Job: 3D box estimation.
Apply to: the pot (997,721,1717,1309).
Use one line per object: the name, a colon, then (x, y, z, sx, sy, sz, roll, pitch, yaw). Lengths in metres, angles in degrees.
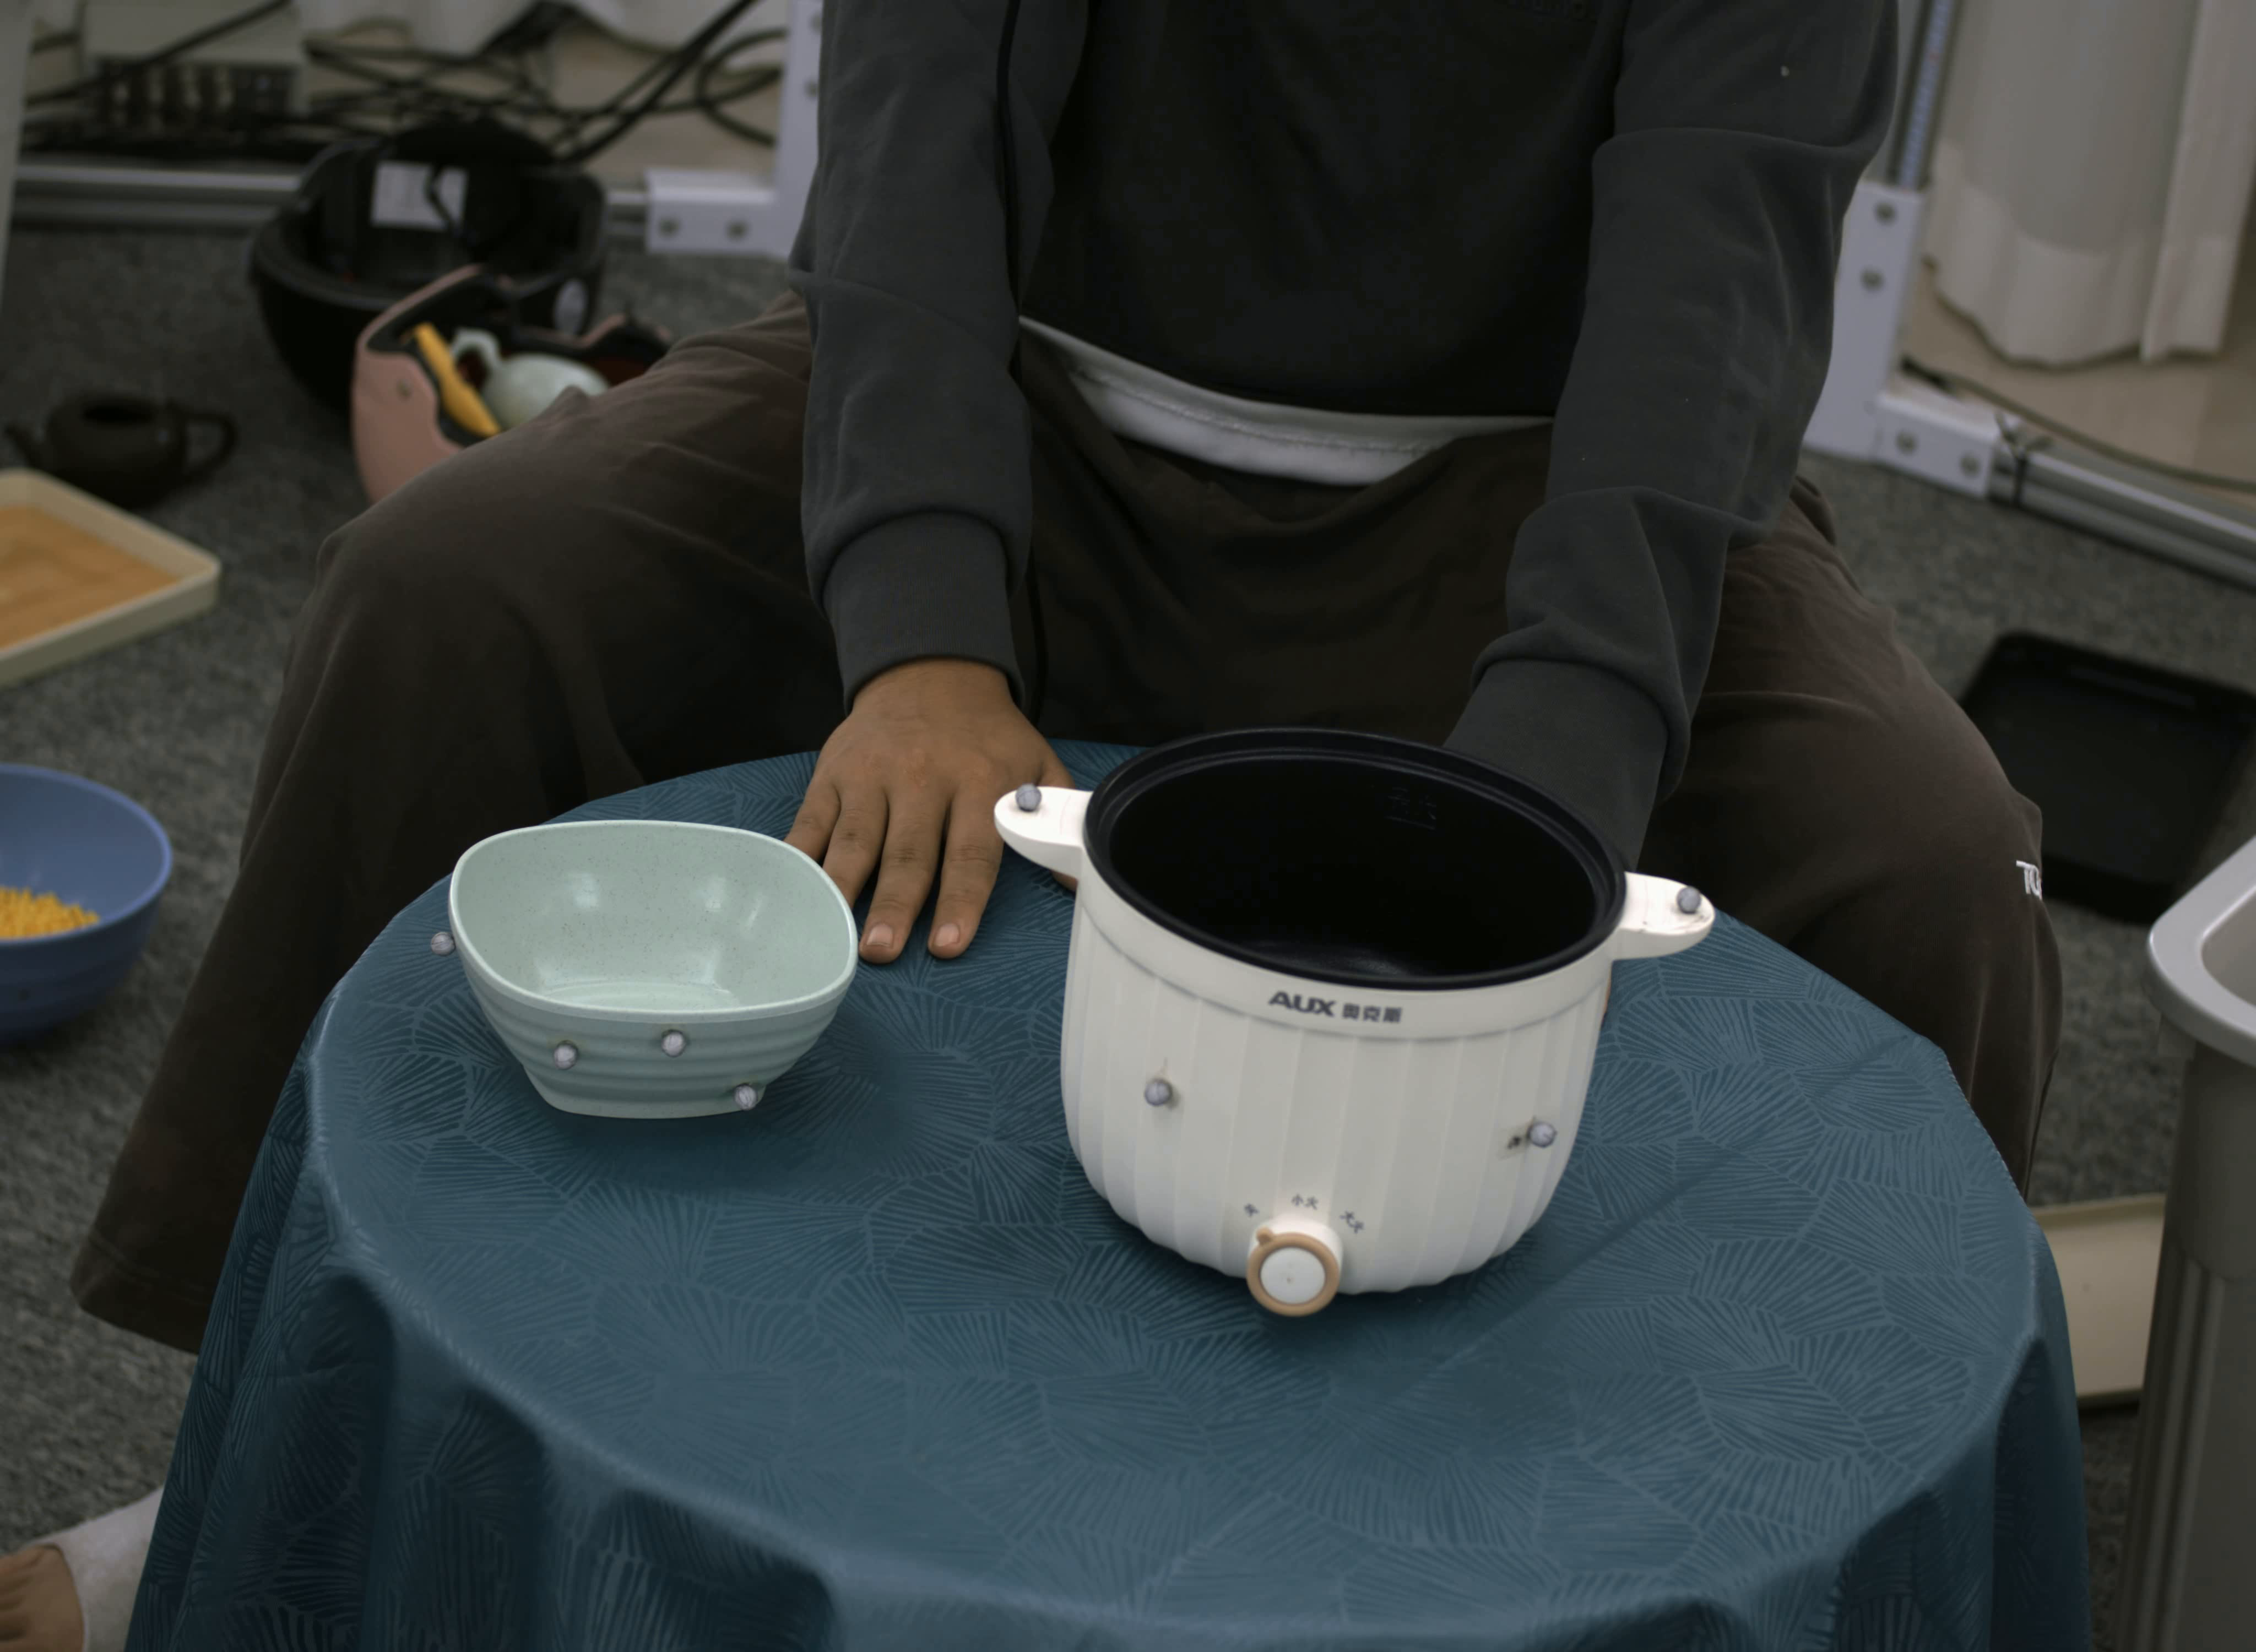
pot: (0.070, 0.067, 1.780, 0.240, 0.142, 0.191, 6, 23, 2)

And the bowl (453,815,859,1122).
bowl: (-0.165, 0.055, 1.840, 0.151, 0.058, 0.152, 5, 29, -3)
